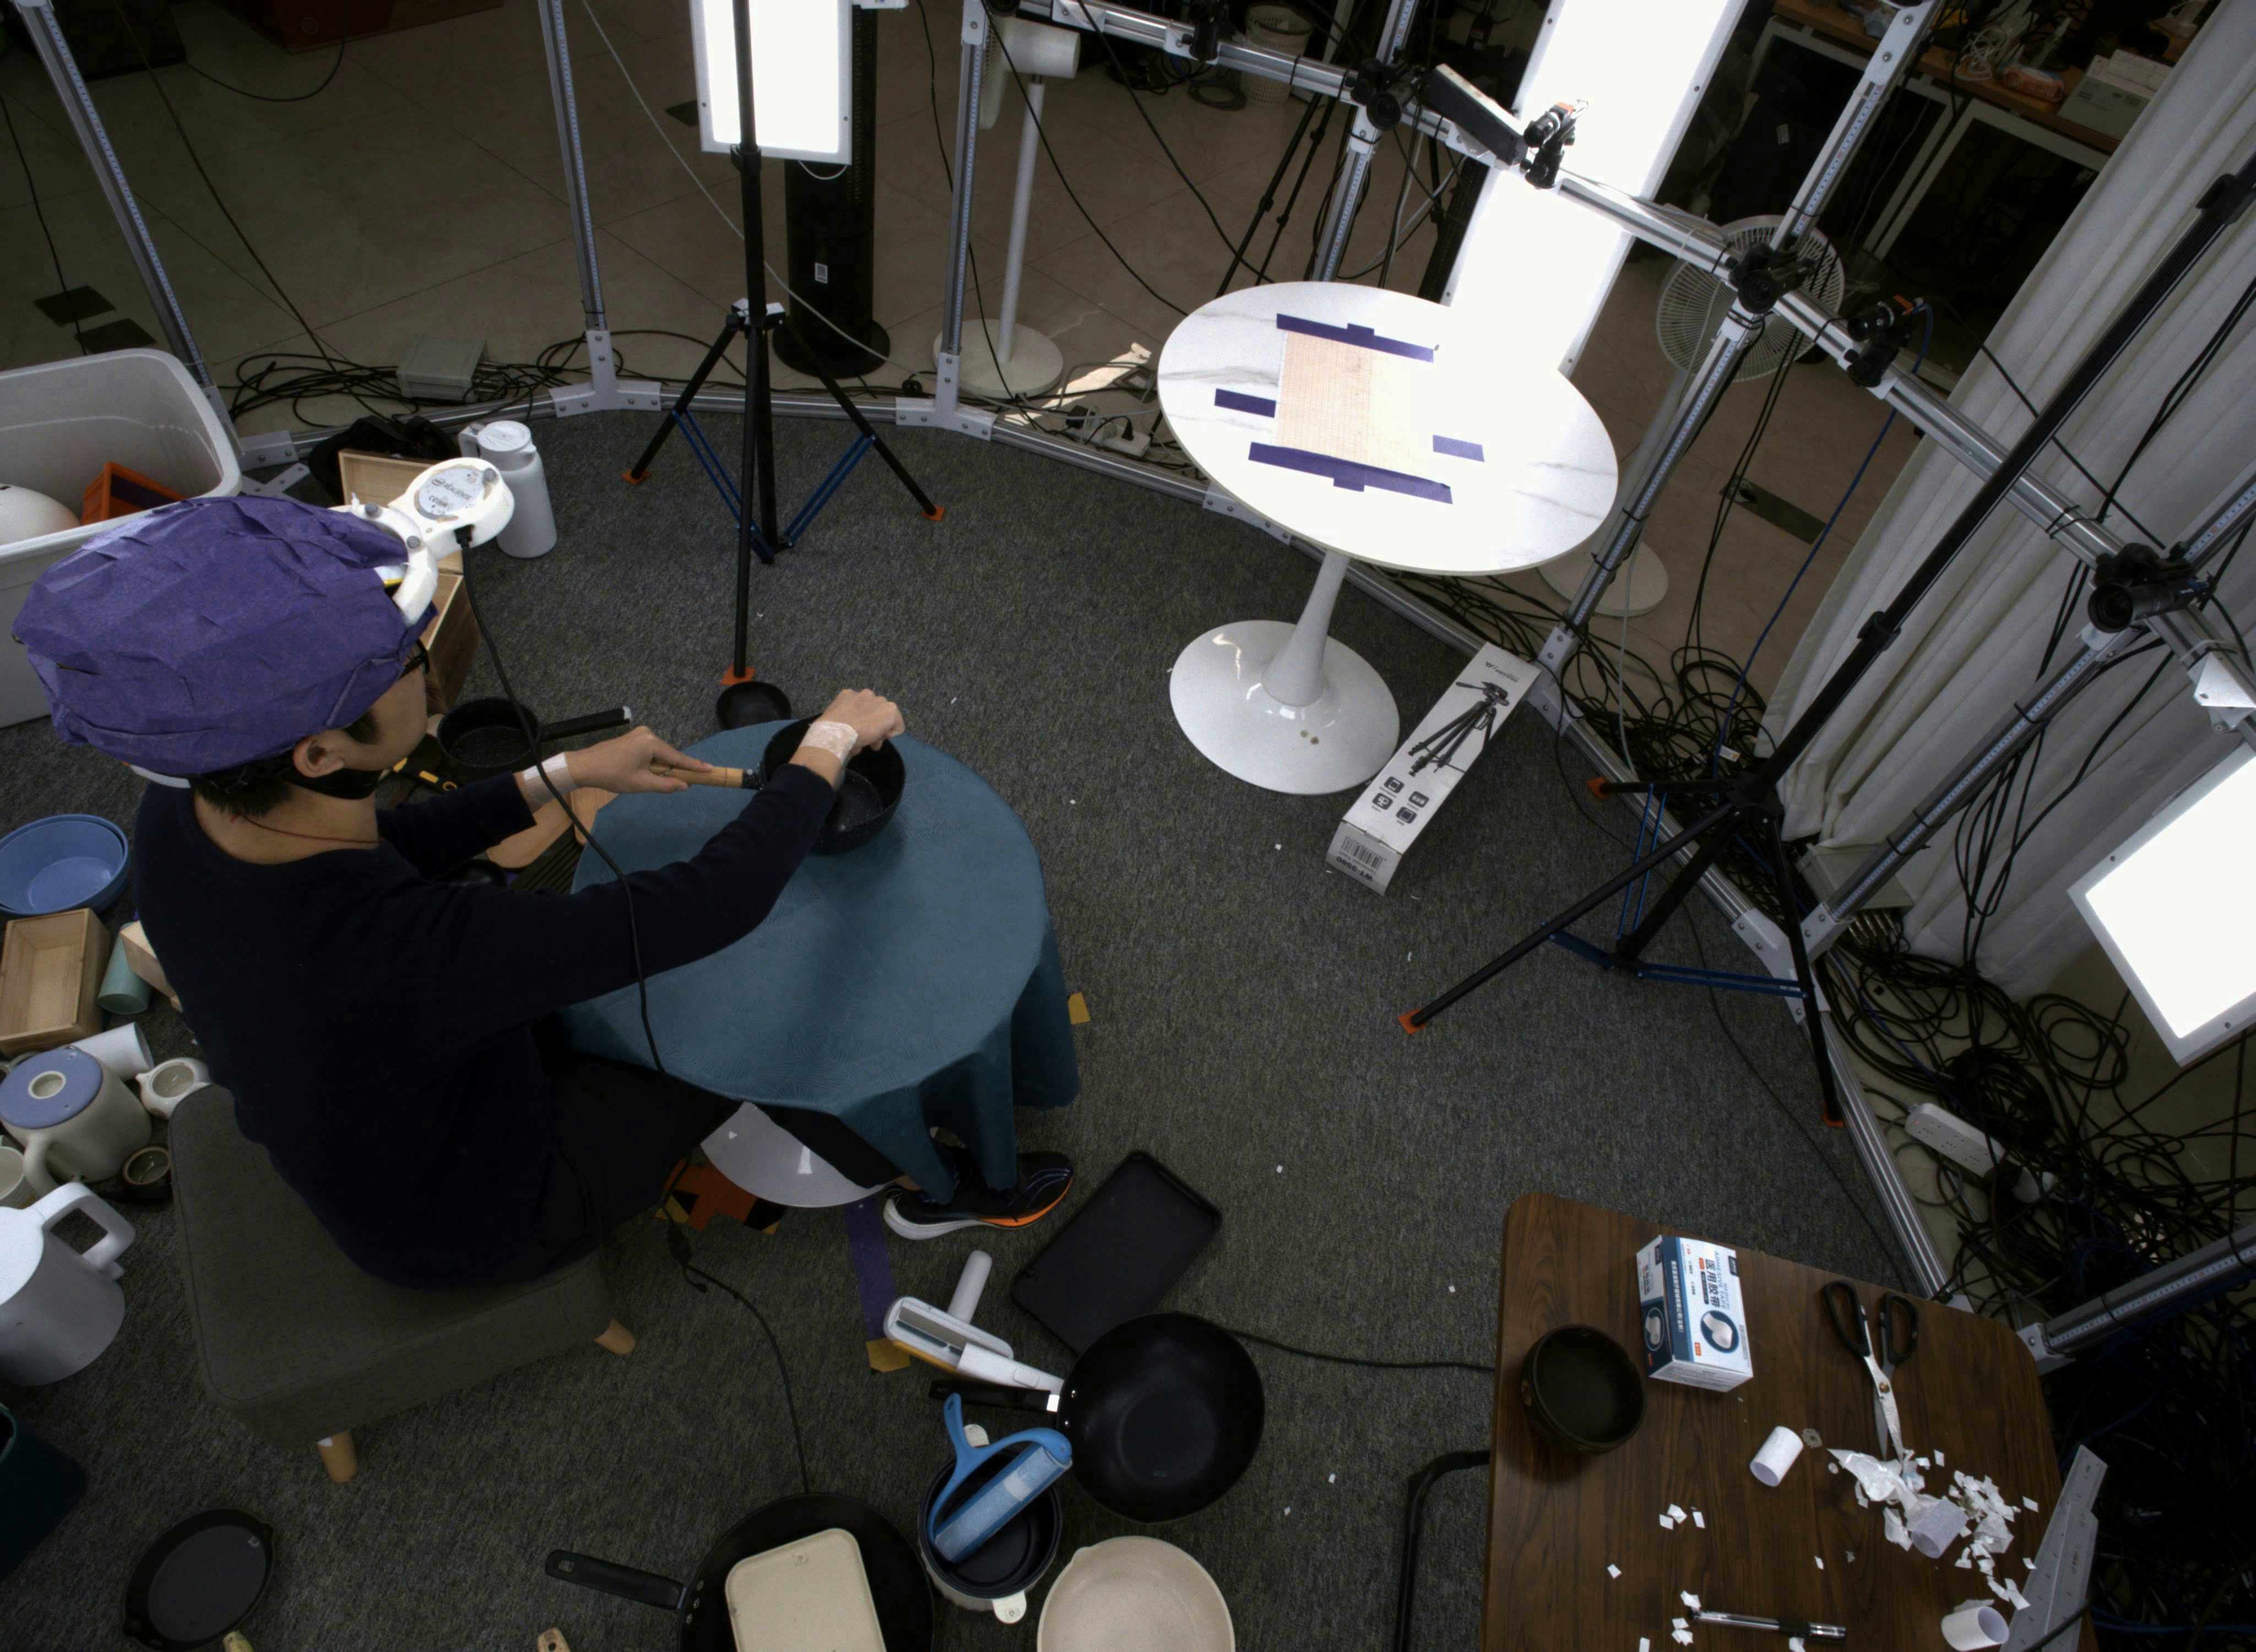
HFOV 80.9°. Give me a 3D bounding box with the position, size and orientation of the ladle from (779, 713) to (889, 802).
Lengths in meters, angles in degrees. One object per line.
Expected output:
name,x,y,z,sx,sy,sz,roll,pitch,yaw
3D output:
ladle,-0.366,-0.106,1.622,0.089,0.272,0.070,-34,88,-37

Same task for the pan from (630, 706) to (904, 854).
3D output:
pan,-0.461,-0.053,1.657,0.346,0.109,0.203,-3,56,-25
